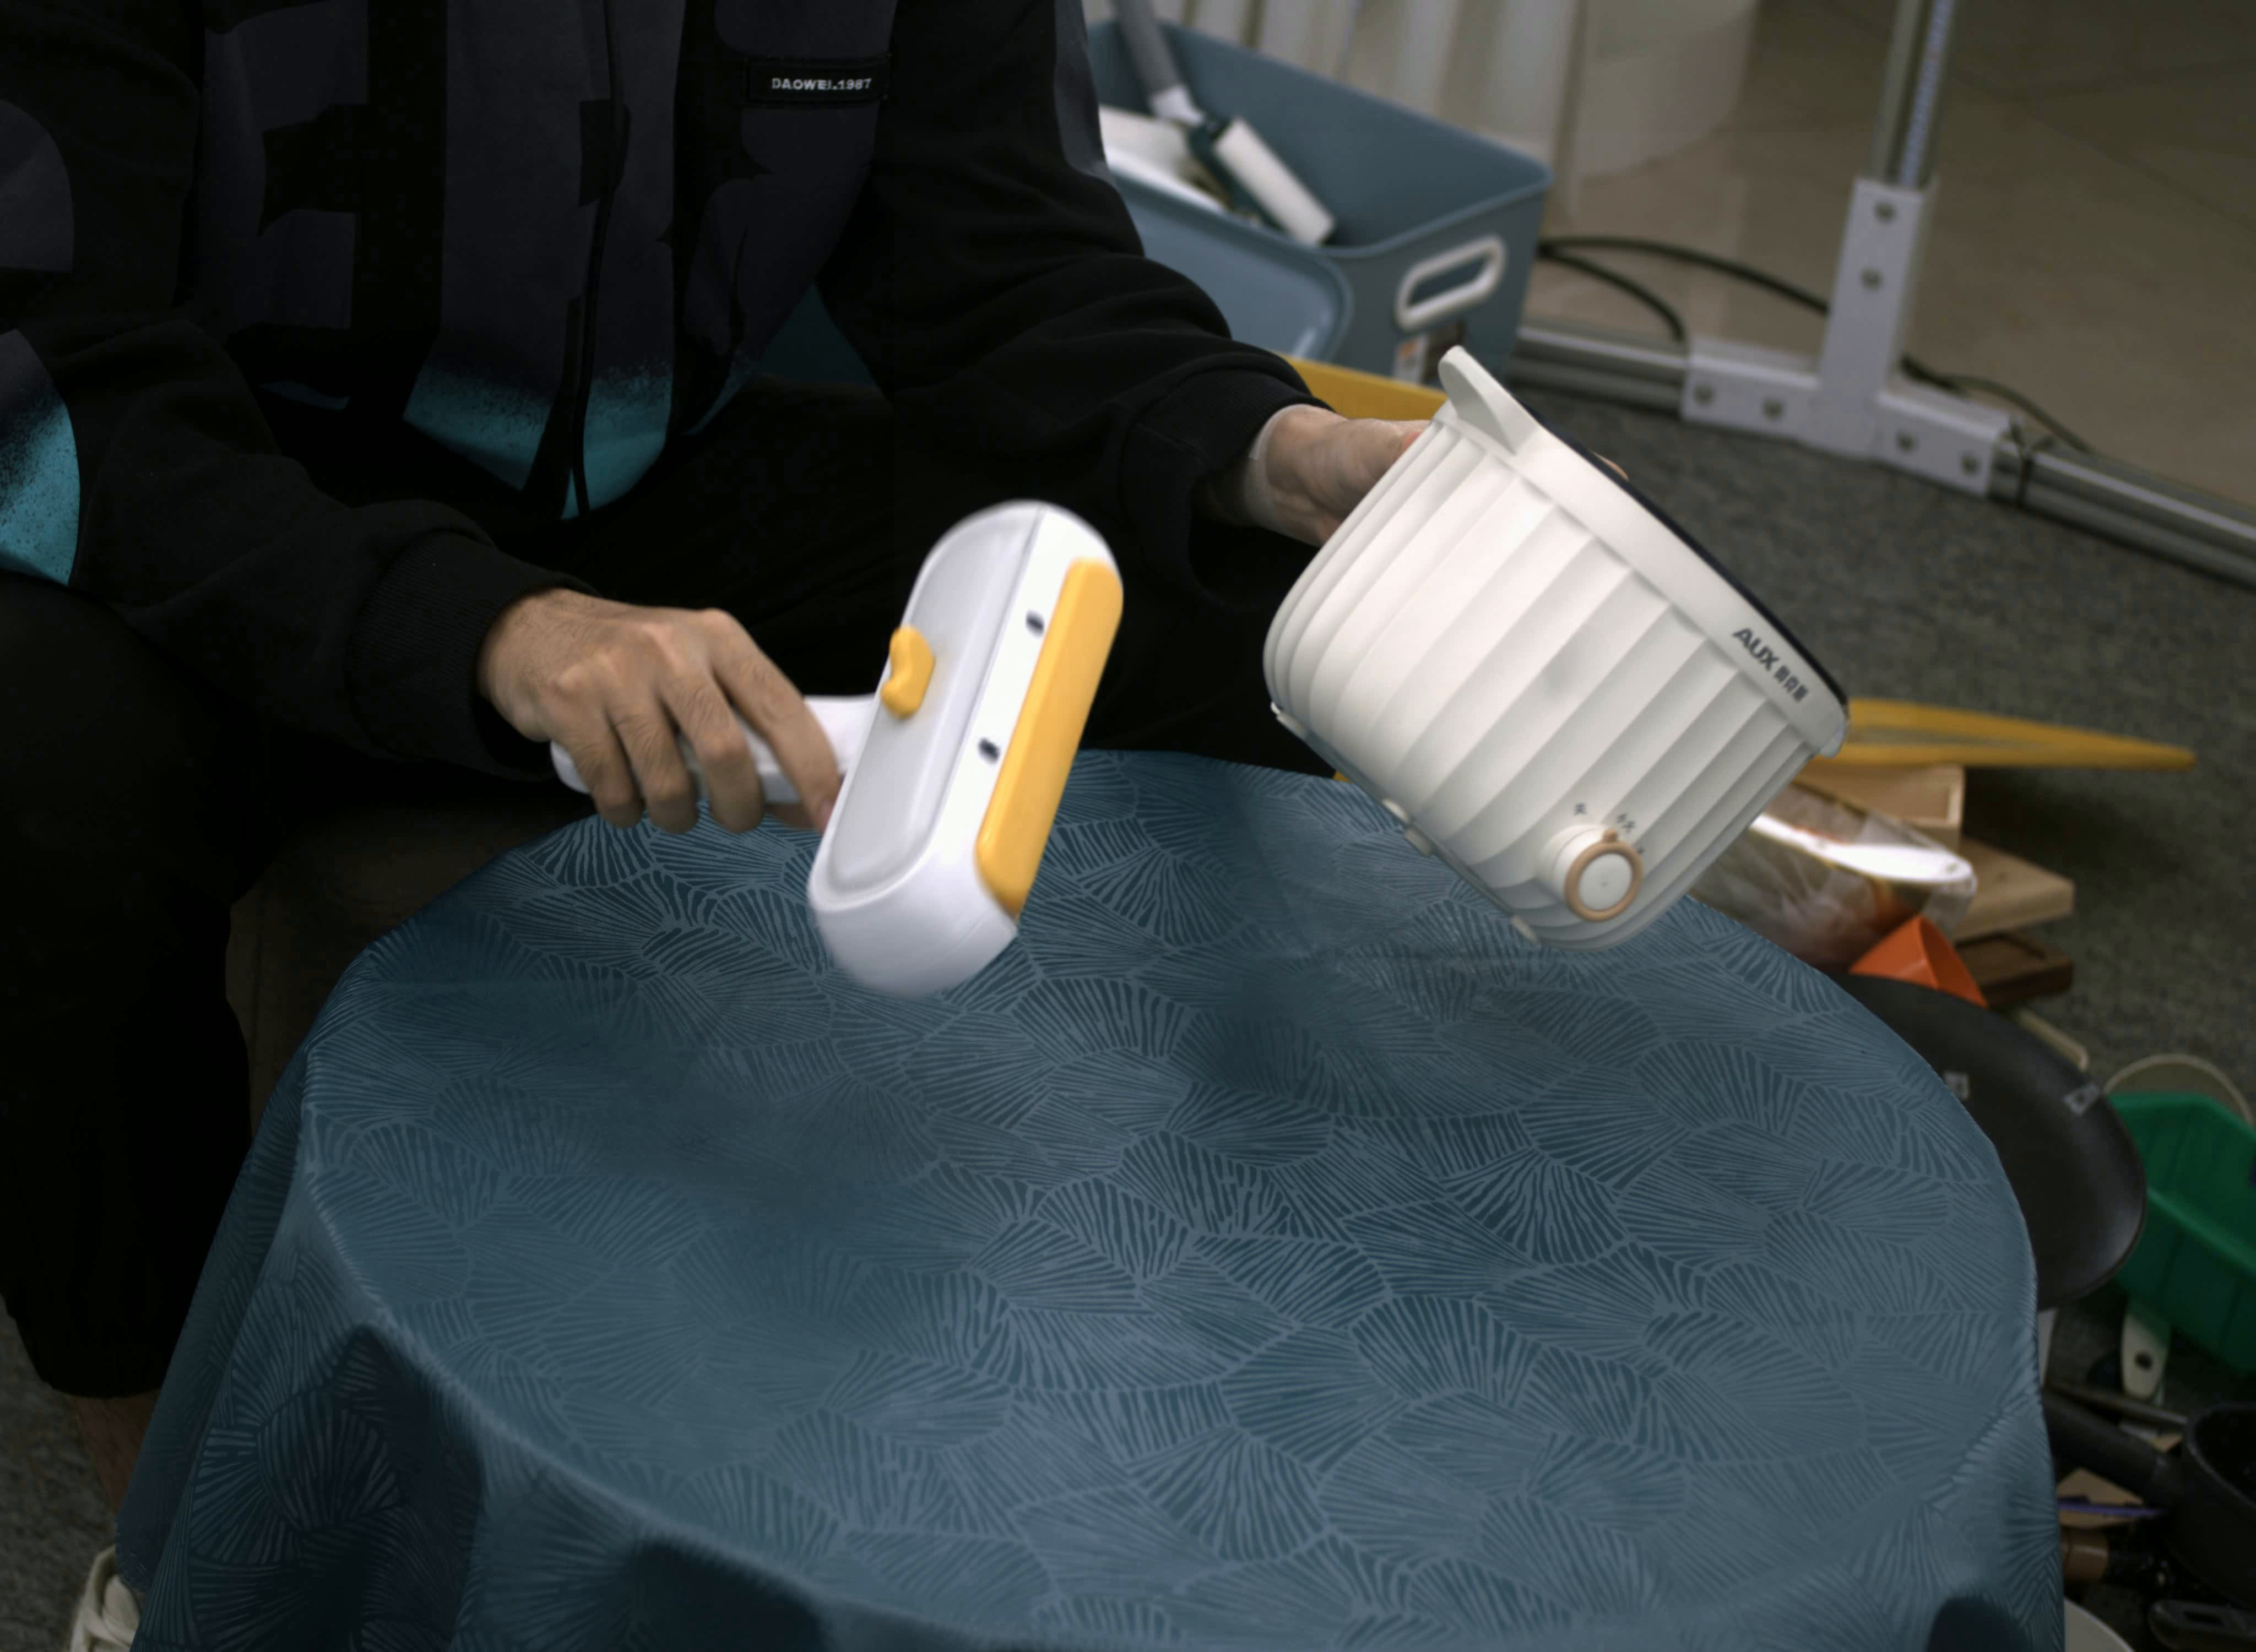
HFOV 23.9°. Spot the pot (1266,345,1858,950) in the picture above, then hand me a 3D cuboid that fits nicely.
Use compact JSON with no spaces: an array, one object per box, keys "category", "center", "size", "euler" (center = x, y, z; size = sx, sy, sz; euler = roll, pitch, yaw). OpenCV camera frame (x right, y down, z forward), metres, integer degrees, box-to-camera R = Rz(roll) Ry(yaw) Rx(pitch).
[{"category":"pot","center":[0.147,-0.047,1.871],"size":[0.238,0.143,0.192],"euler":[40,-3,-36]}]

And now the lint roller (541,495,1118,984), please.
[{"category":"lint roller","center":[-0.107,-0.026,1.806],"size":[0.193,0.073,0.194],"euler":[-10,48,28]}]
